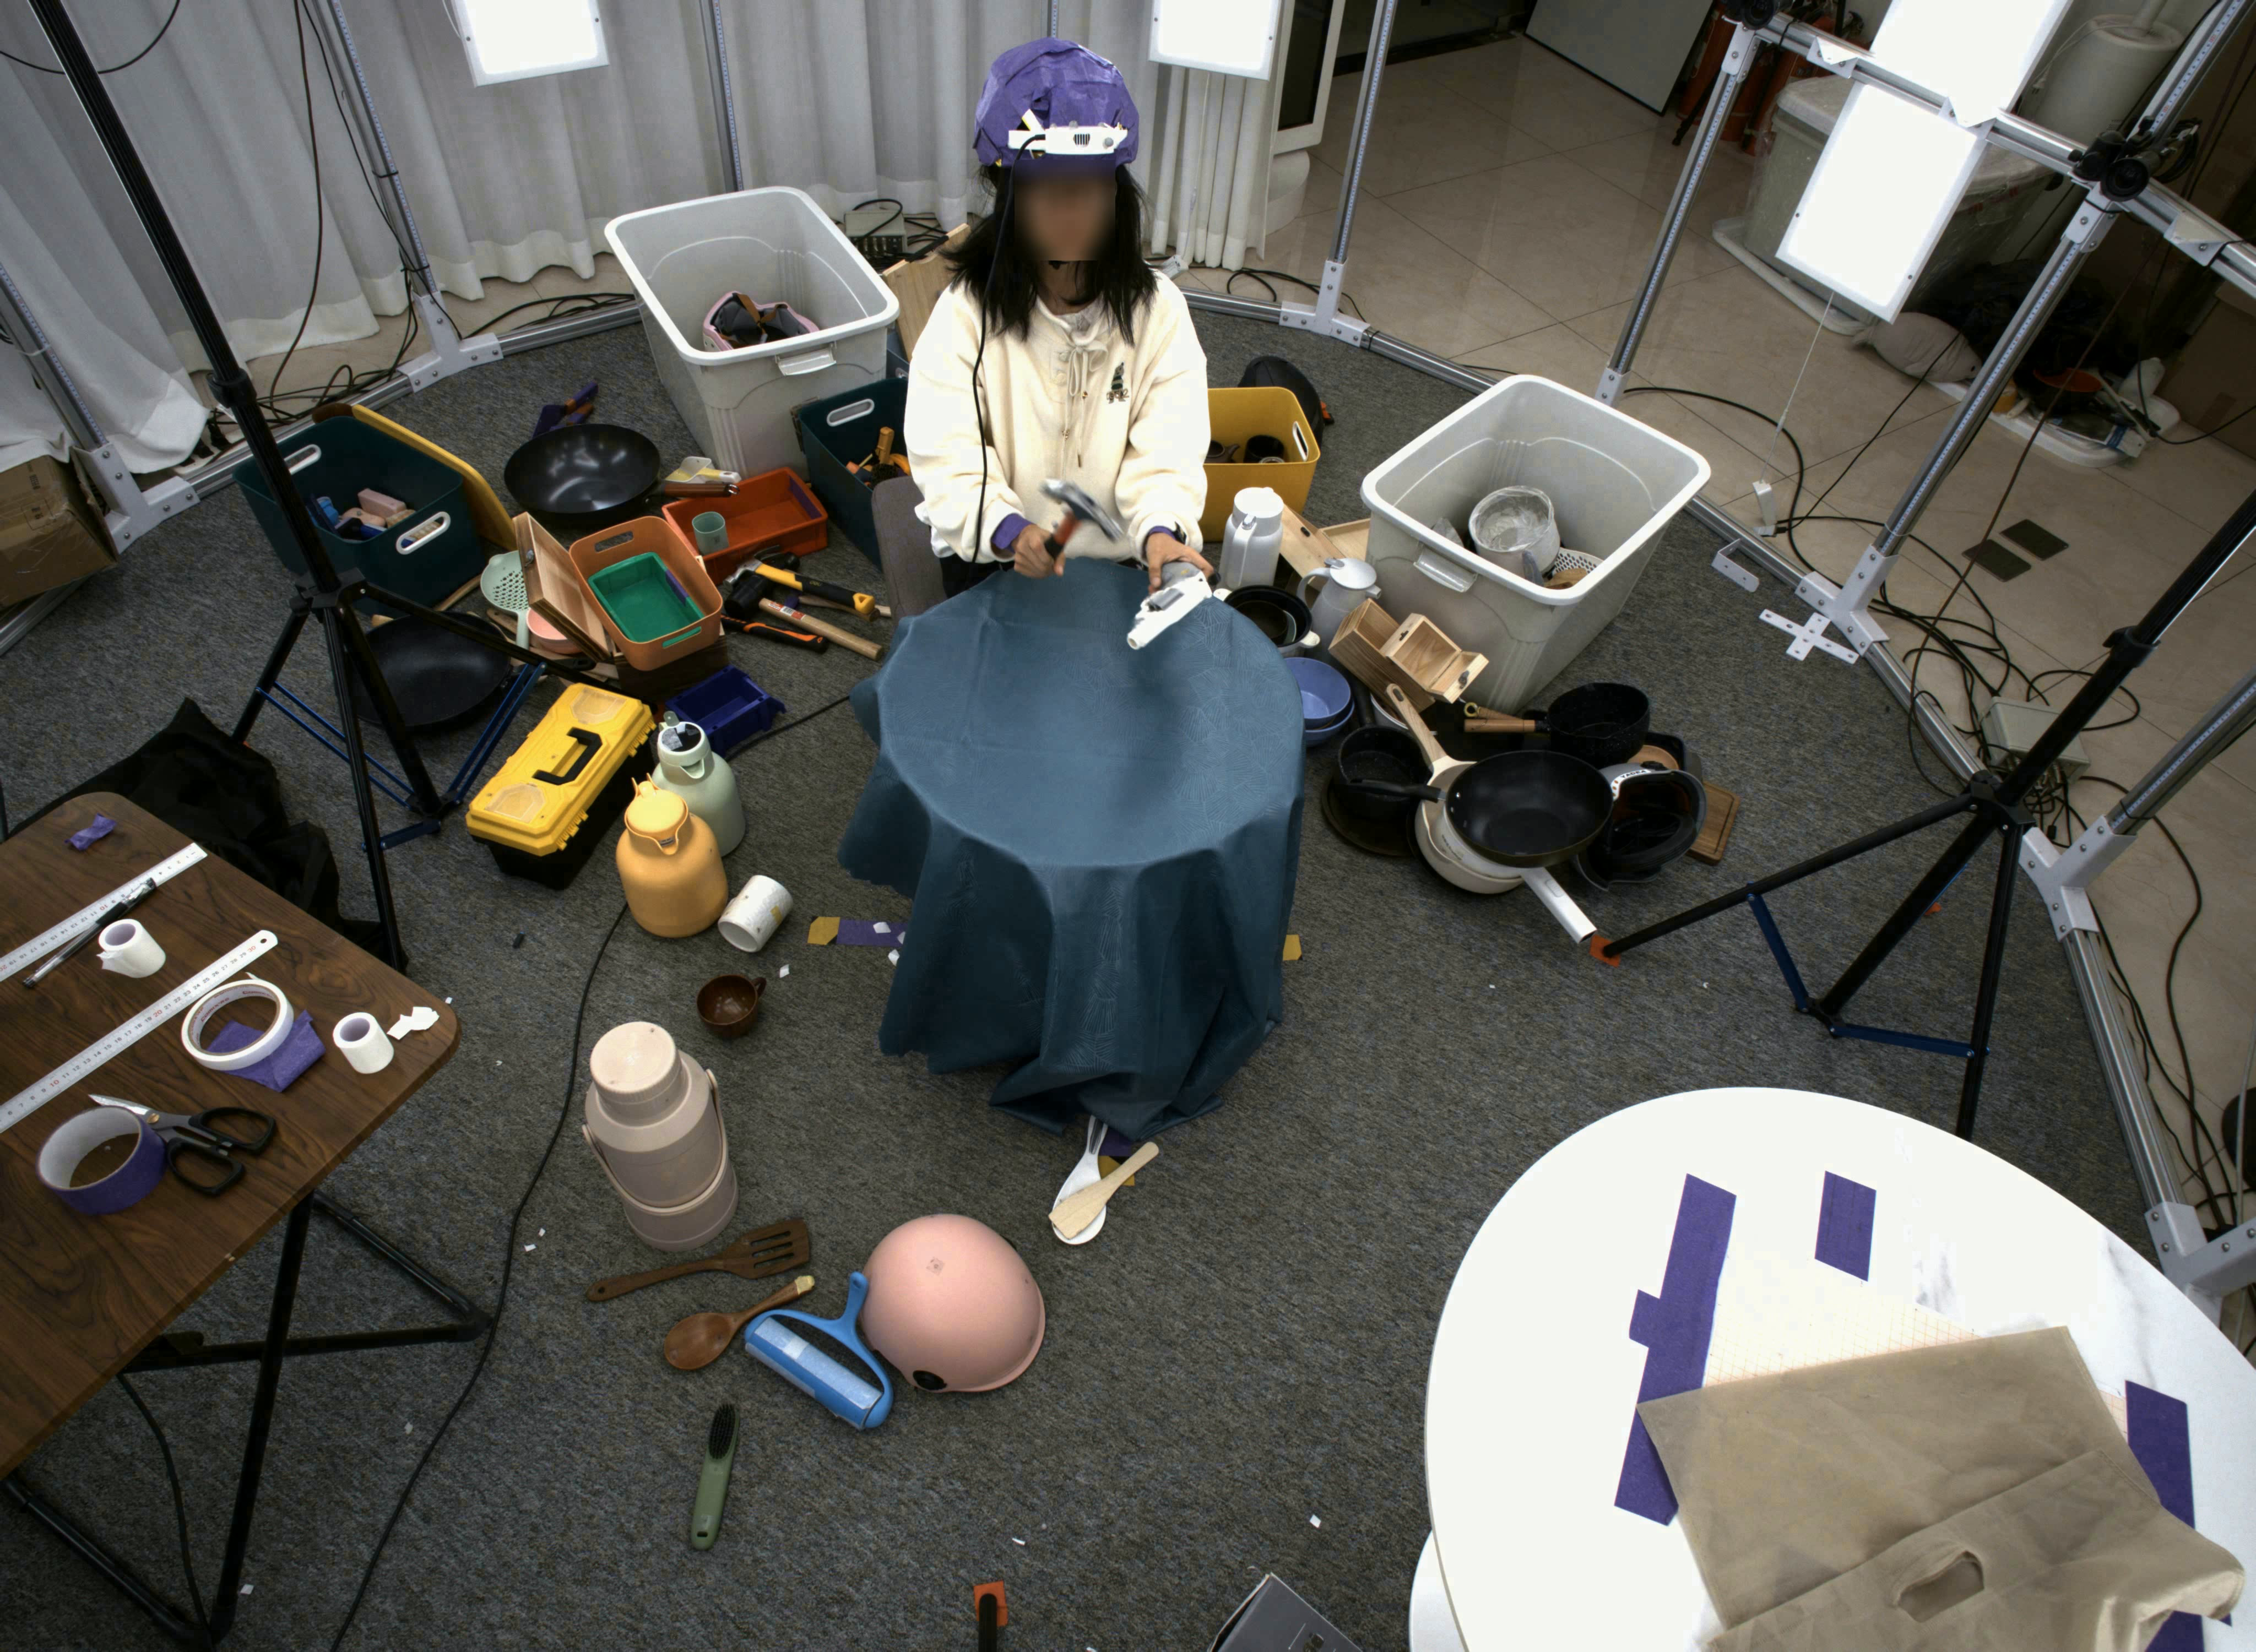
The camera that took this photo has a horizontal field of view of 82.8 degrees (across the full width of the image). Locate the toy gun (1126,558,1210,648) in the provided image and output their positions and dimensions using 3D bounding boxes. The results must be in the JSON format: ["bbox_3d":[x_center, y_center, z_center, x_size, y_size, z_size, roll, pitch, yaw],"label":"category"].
[{"bbox_3d":[0.040,-0.300,1.707,0.143,0.038,0.211,9,42,47],"label":"toy gun"}]

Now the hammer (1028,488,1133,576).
[{"bbox_3d":[-0.085,-0.380,1.715,0.110,0.277,0.026,31,77,-14],"label":"hammer"}]
